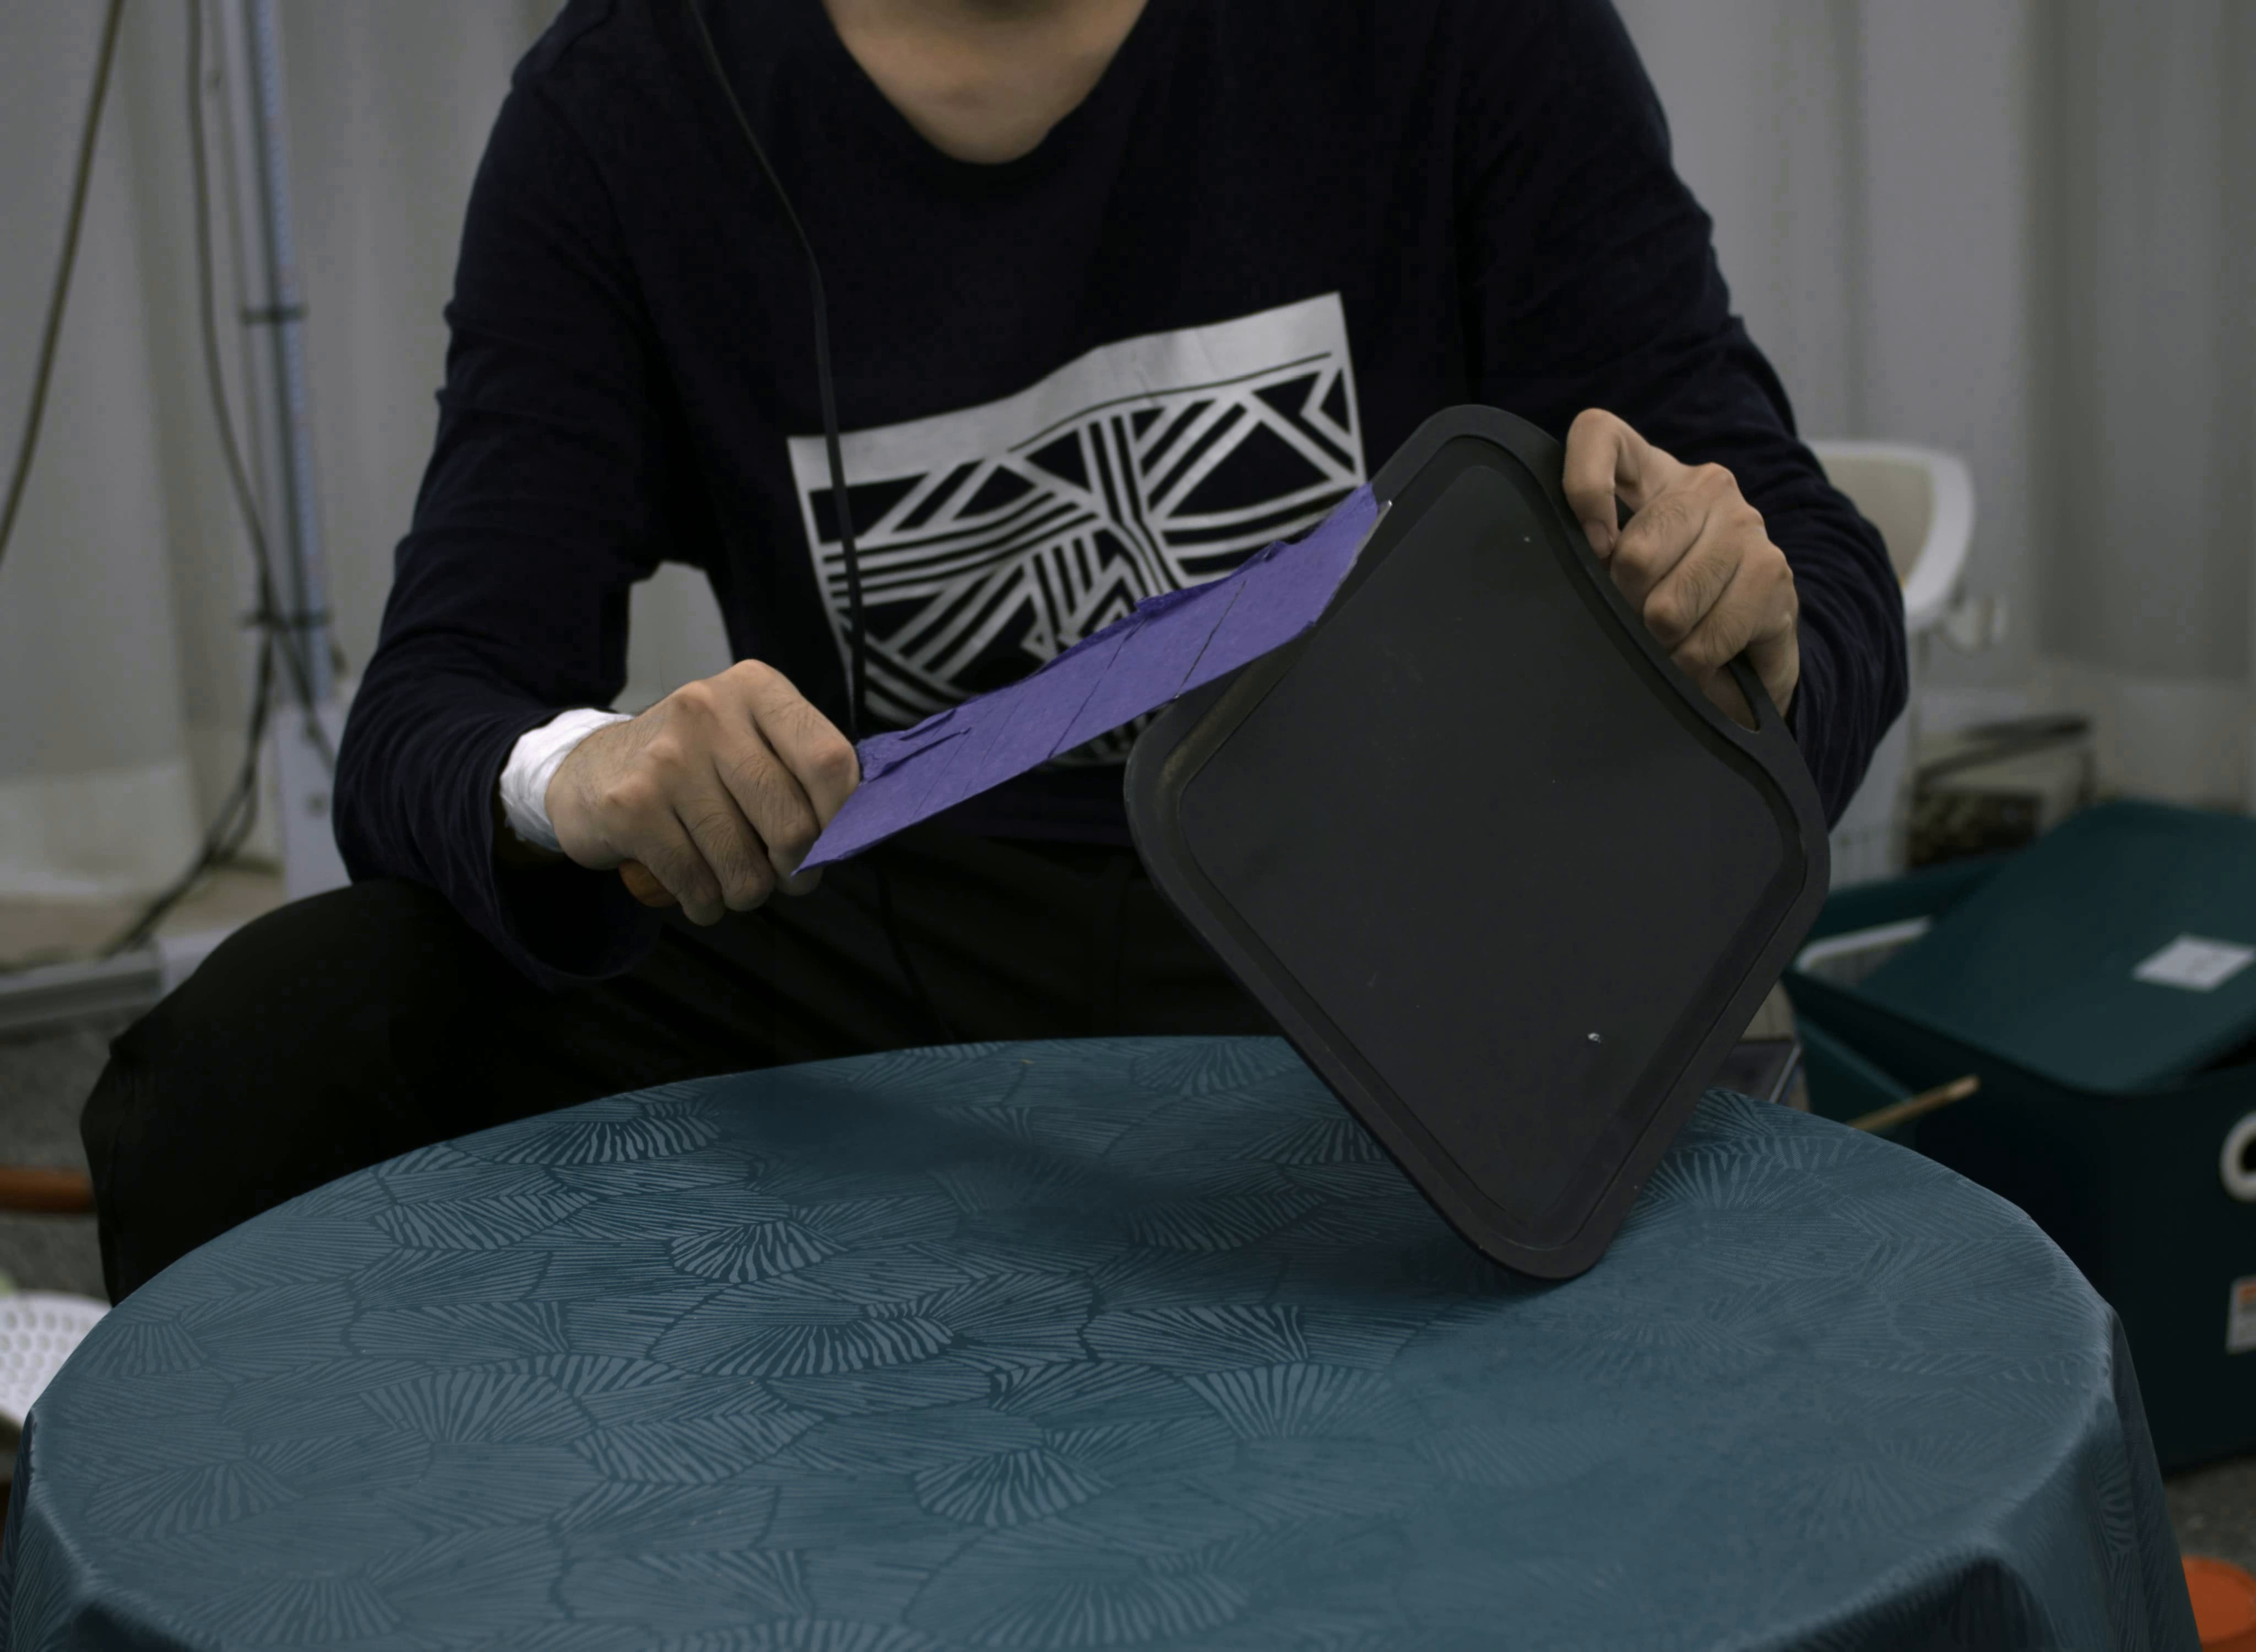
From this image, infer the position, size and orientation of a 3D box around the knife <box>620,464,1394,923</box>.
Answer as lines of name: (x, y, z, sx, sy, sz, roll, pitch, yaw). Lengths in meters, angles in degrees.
knife: (-0.053, -0.028, 1.718, 0.314, 0.032, 0.105, -28, 15, 32)

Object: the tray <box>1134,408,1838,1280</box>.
tray: (0.122, -0.007, 1.713, 0.010, 0.211, 0.327, -36, 7, 38)
